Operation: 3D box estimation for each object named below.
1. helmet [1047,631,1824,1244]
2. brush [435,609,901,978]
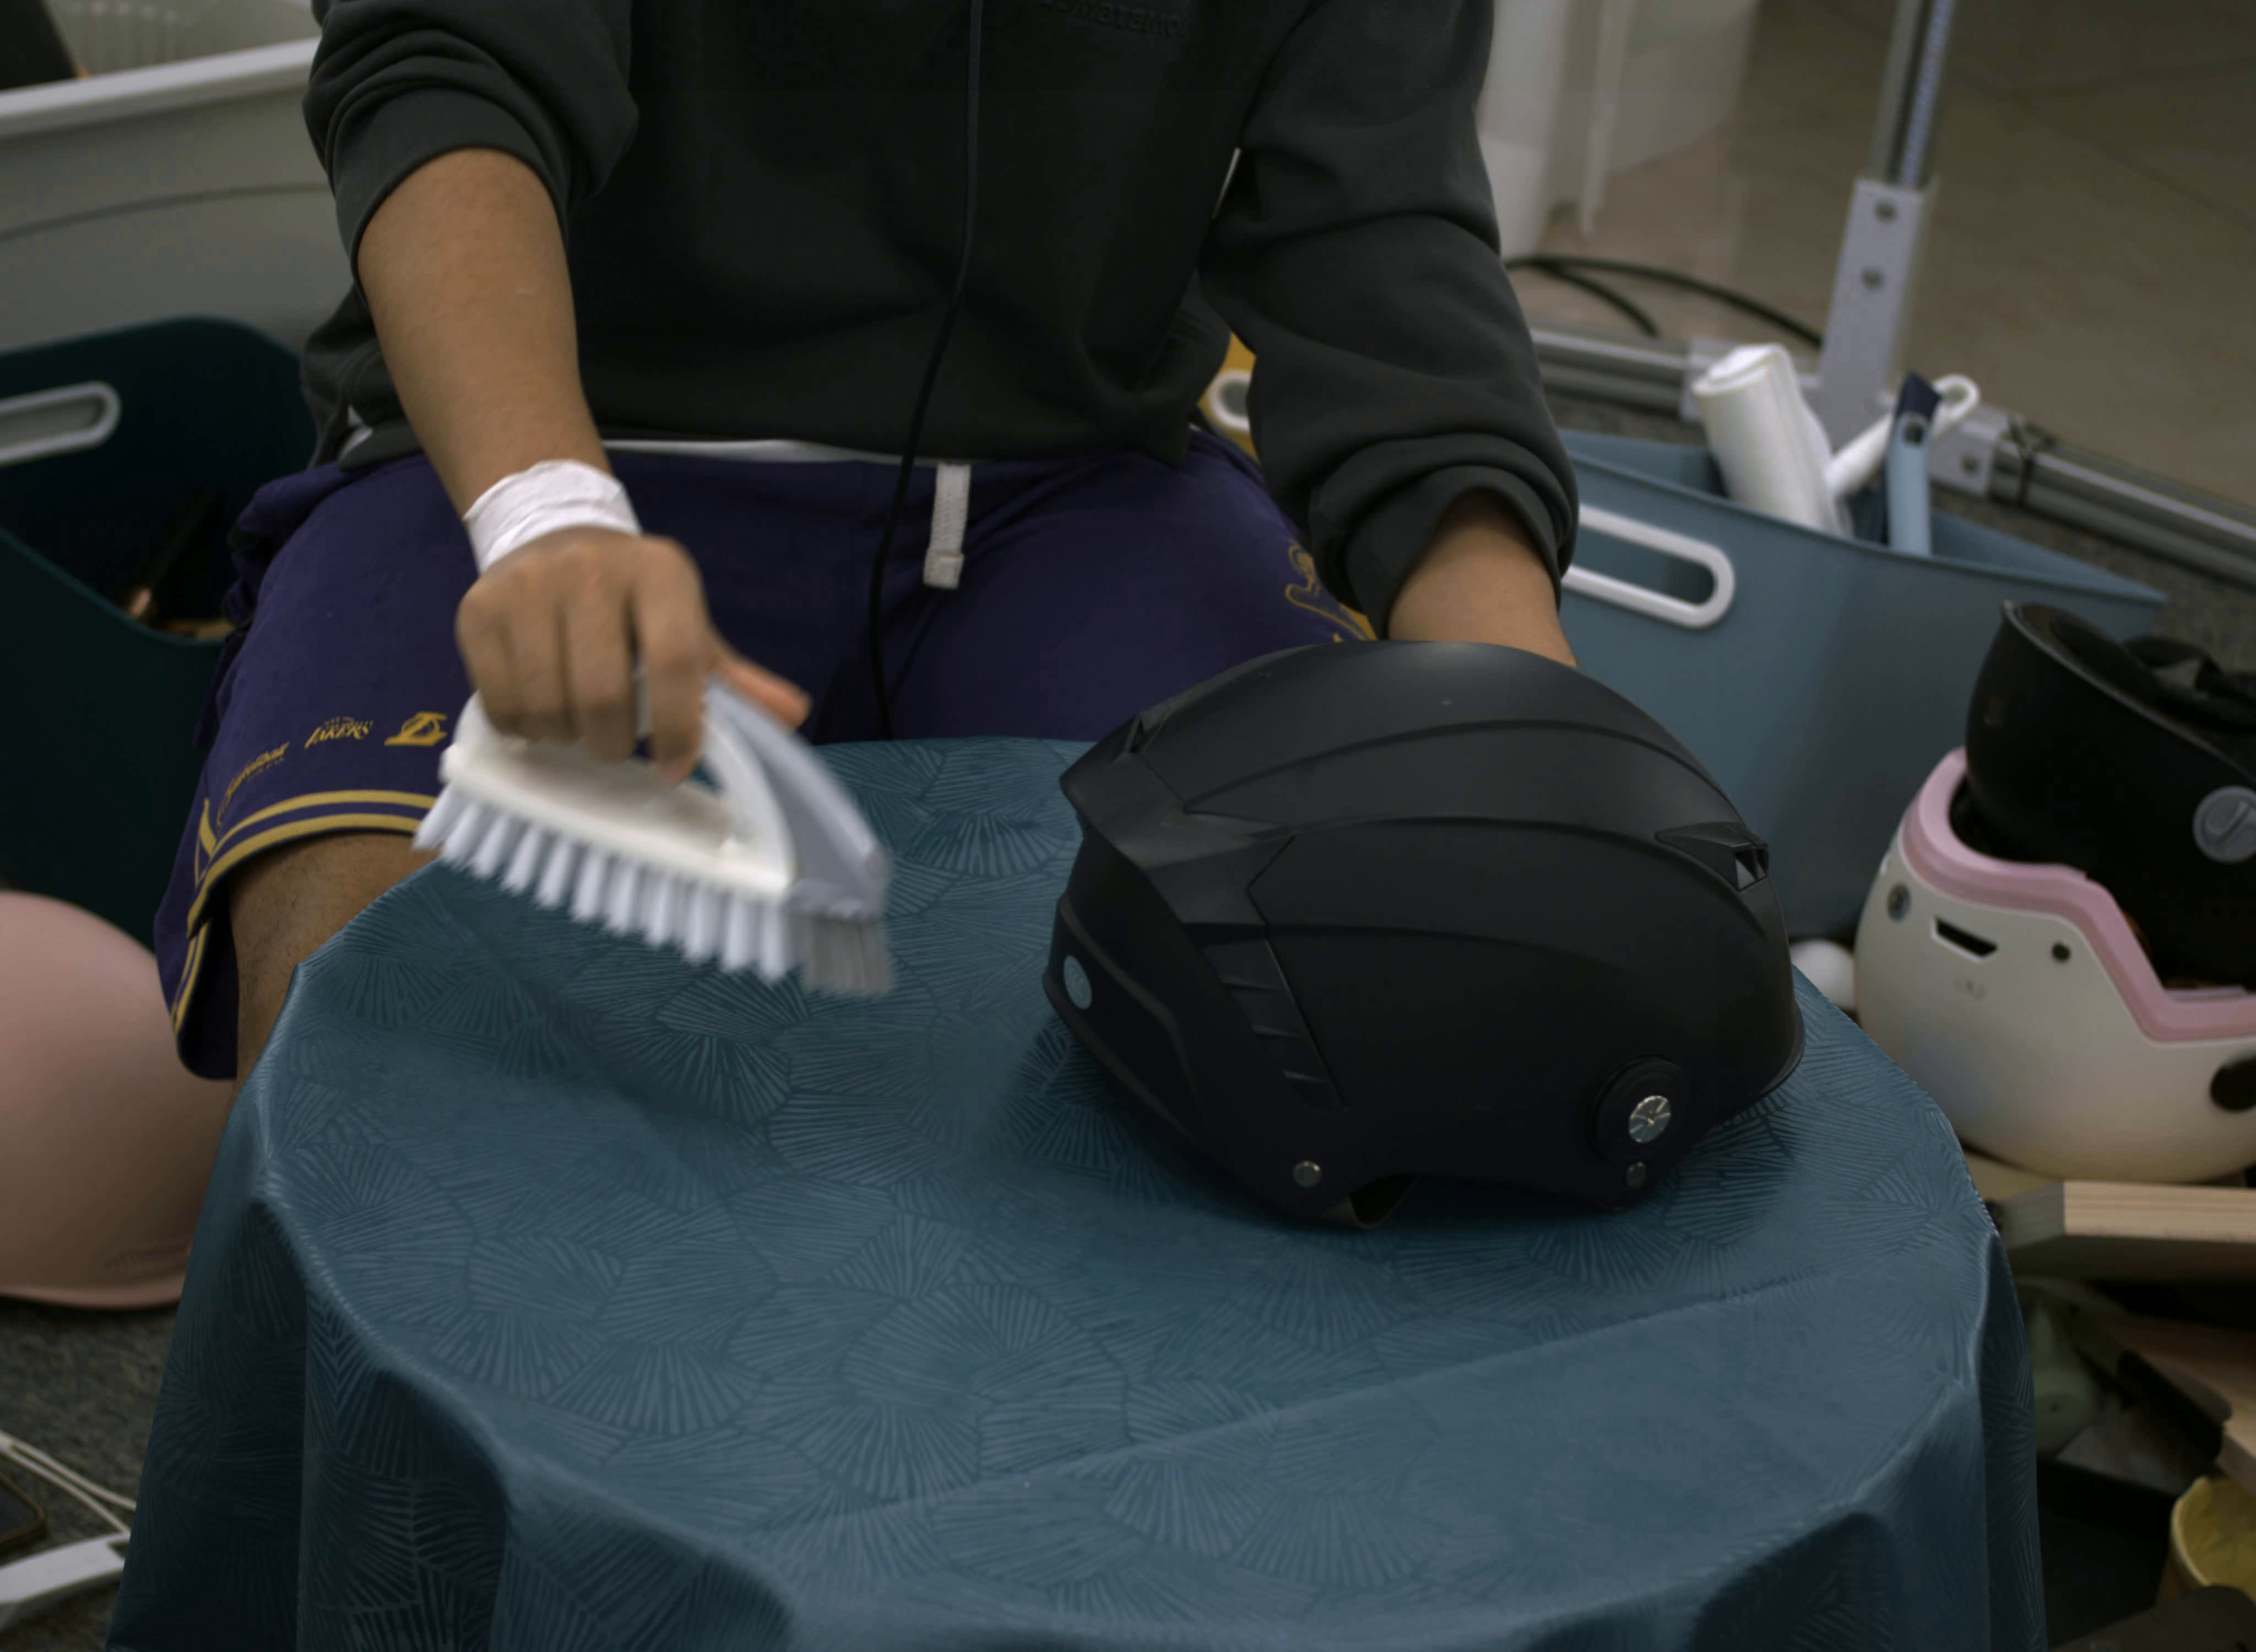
[{"bbox_3d":[0.107,0.020,1.854,0.275,0.172,0.249,-9,31,-20],"label":"helmet"},{"bbox_3d":[-0.147,-0.016,1.805,0.176,0.094,0.061,23,26,20],"label":"brush"}]
